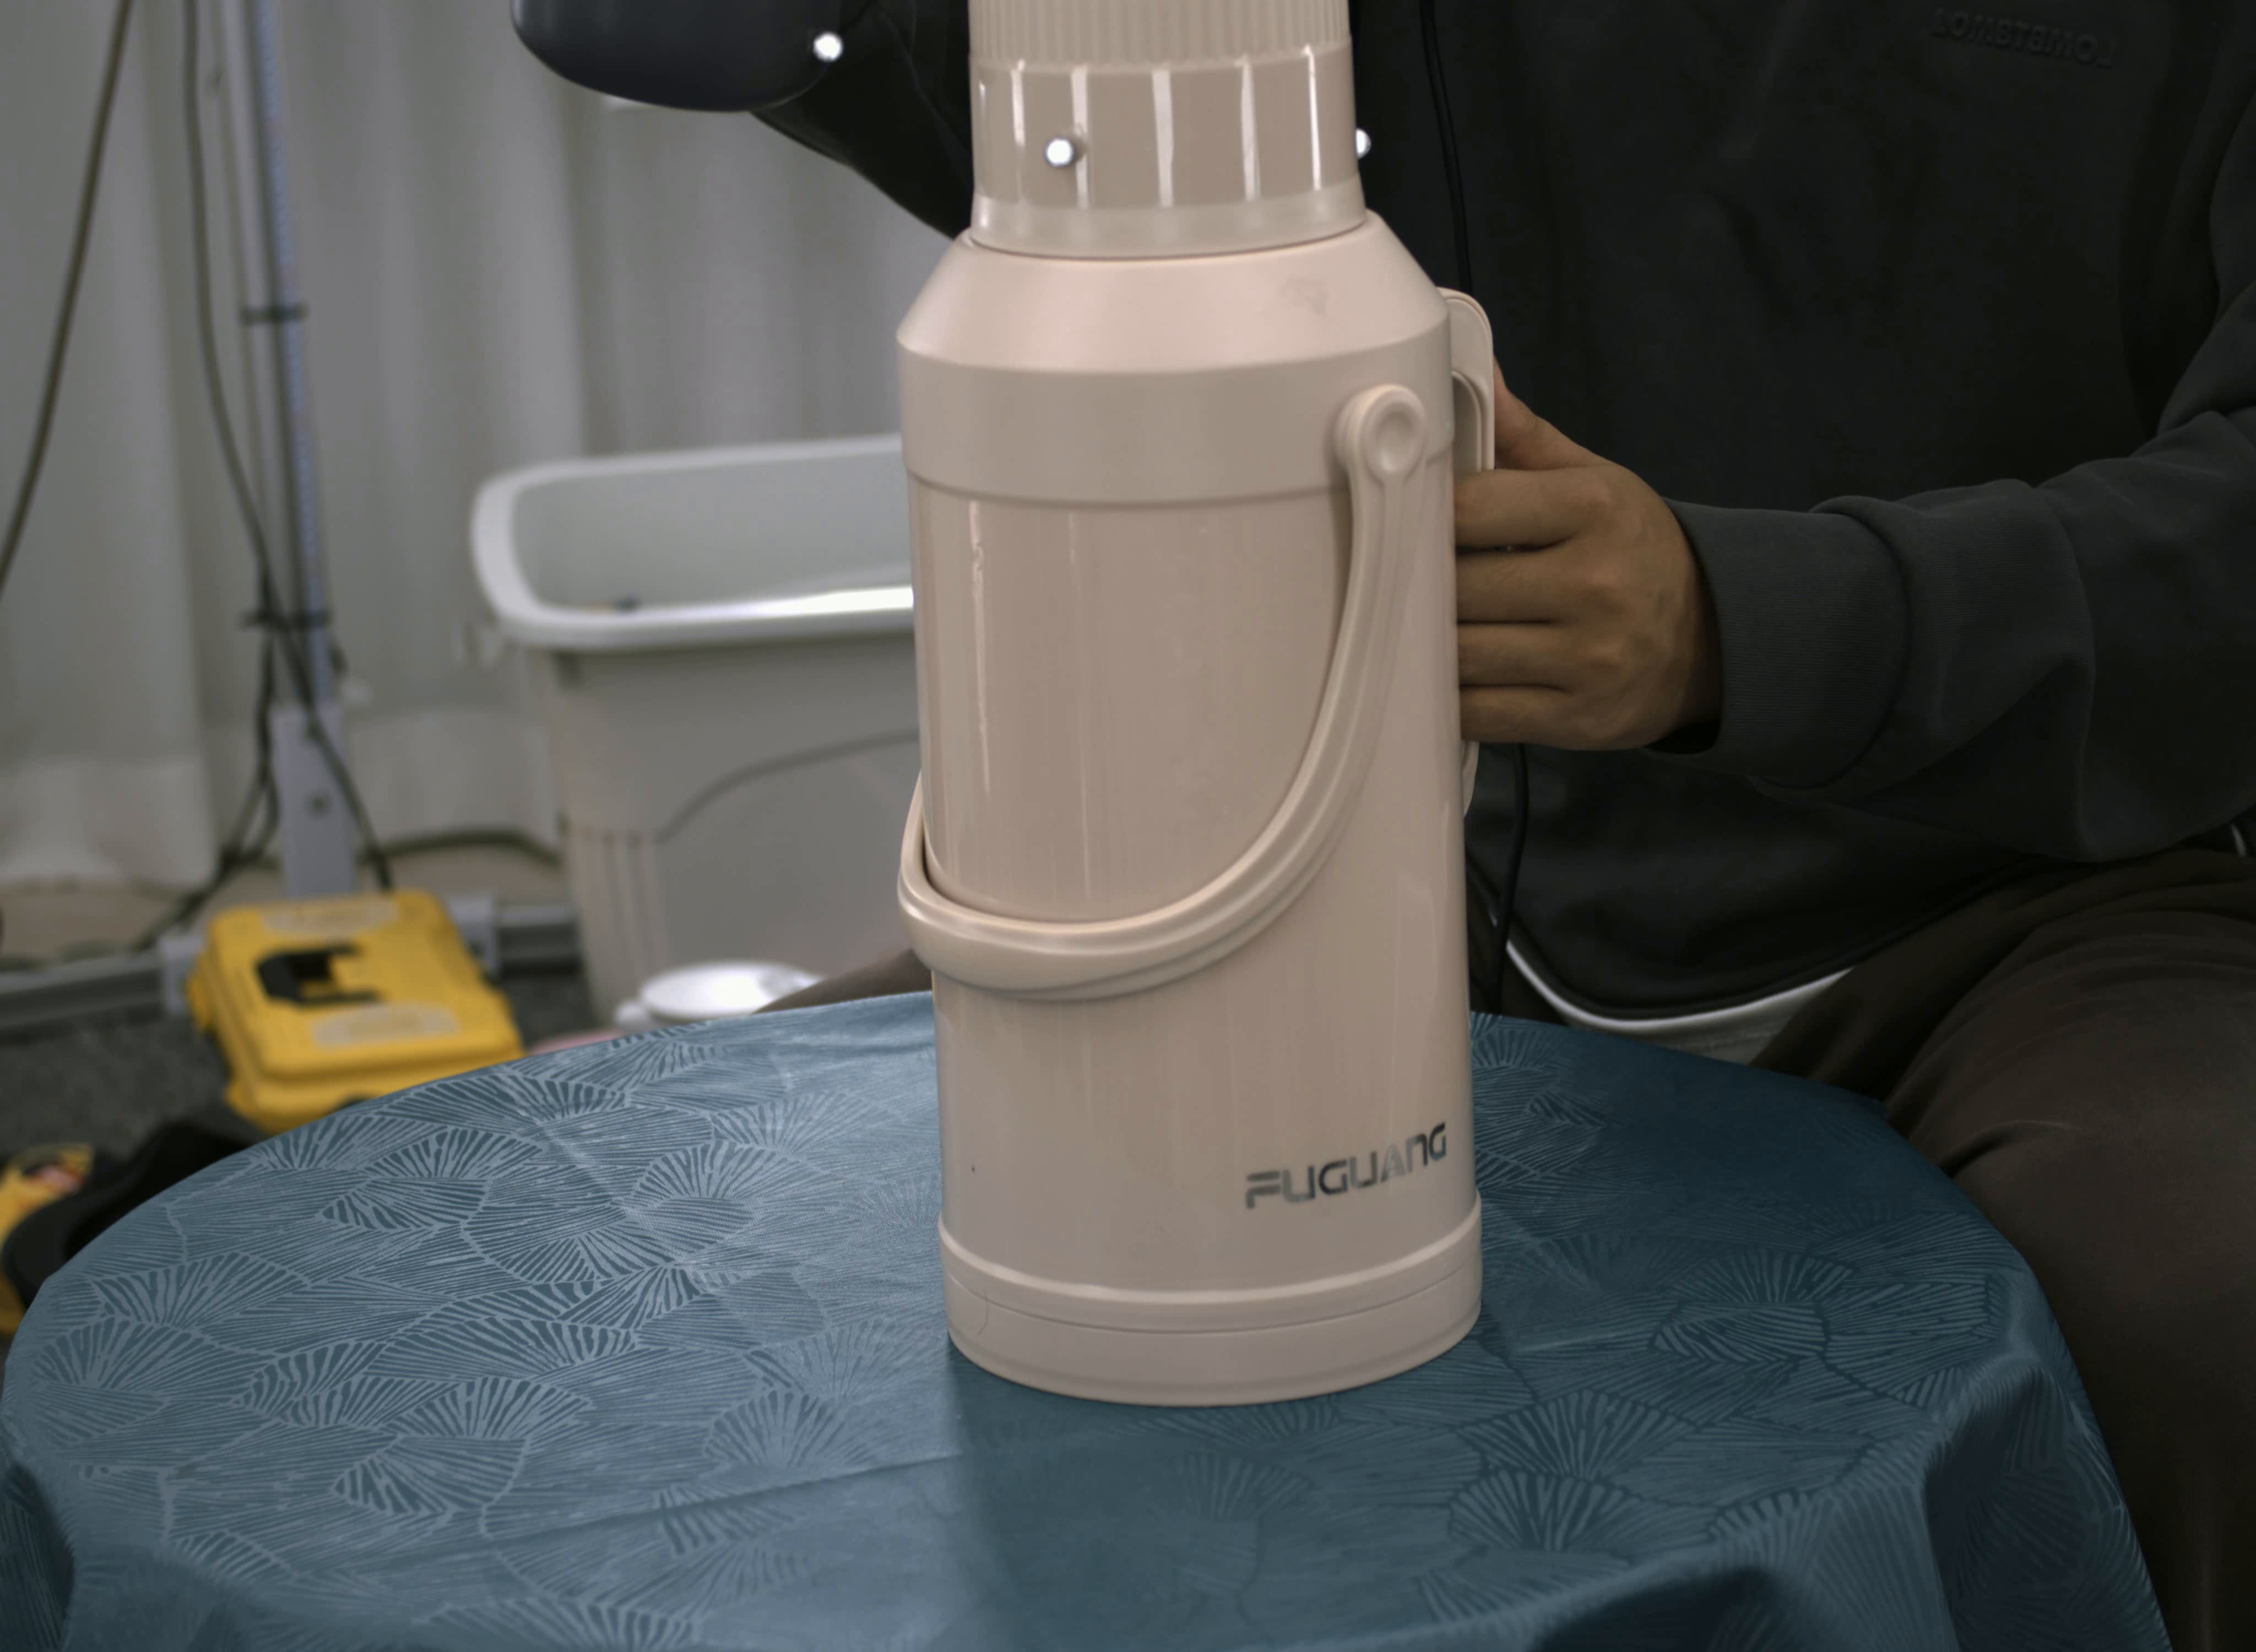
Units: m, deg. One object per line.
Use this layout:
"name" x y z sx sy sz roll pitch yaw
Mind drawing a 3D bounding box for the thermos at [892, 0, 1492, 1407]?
"thermos" 0.027 -0.052 1.572 0.206 0.405 0.176 -15 18 -41

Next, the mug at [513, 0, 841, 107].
"mug" -0.123 -0.263 1.573 0.093 0.089 0.124 11 22 1
